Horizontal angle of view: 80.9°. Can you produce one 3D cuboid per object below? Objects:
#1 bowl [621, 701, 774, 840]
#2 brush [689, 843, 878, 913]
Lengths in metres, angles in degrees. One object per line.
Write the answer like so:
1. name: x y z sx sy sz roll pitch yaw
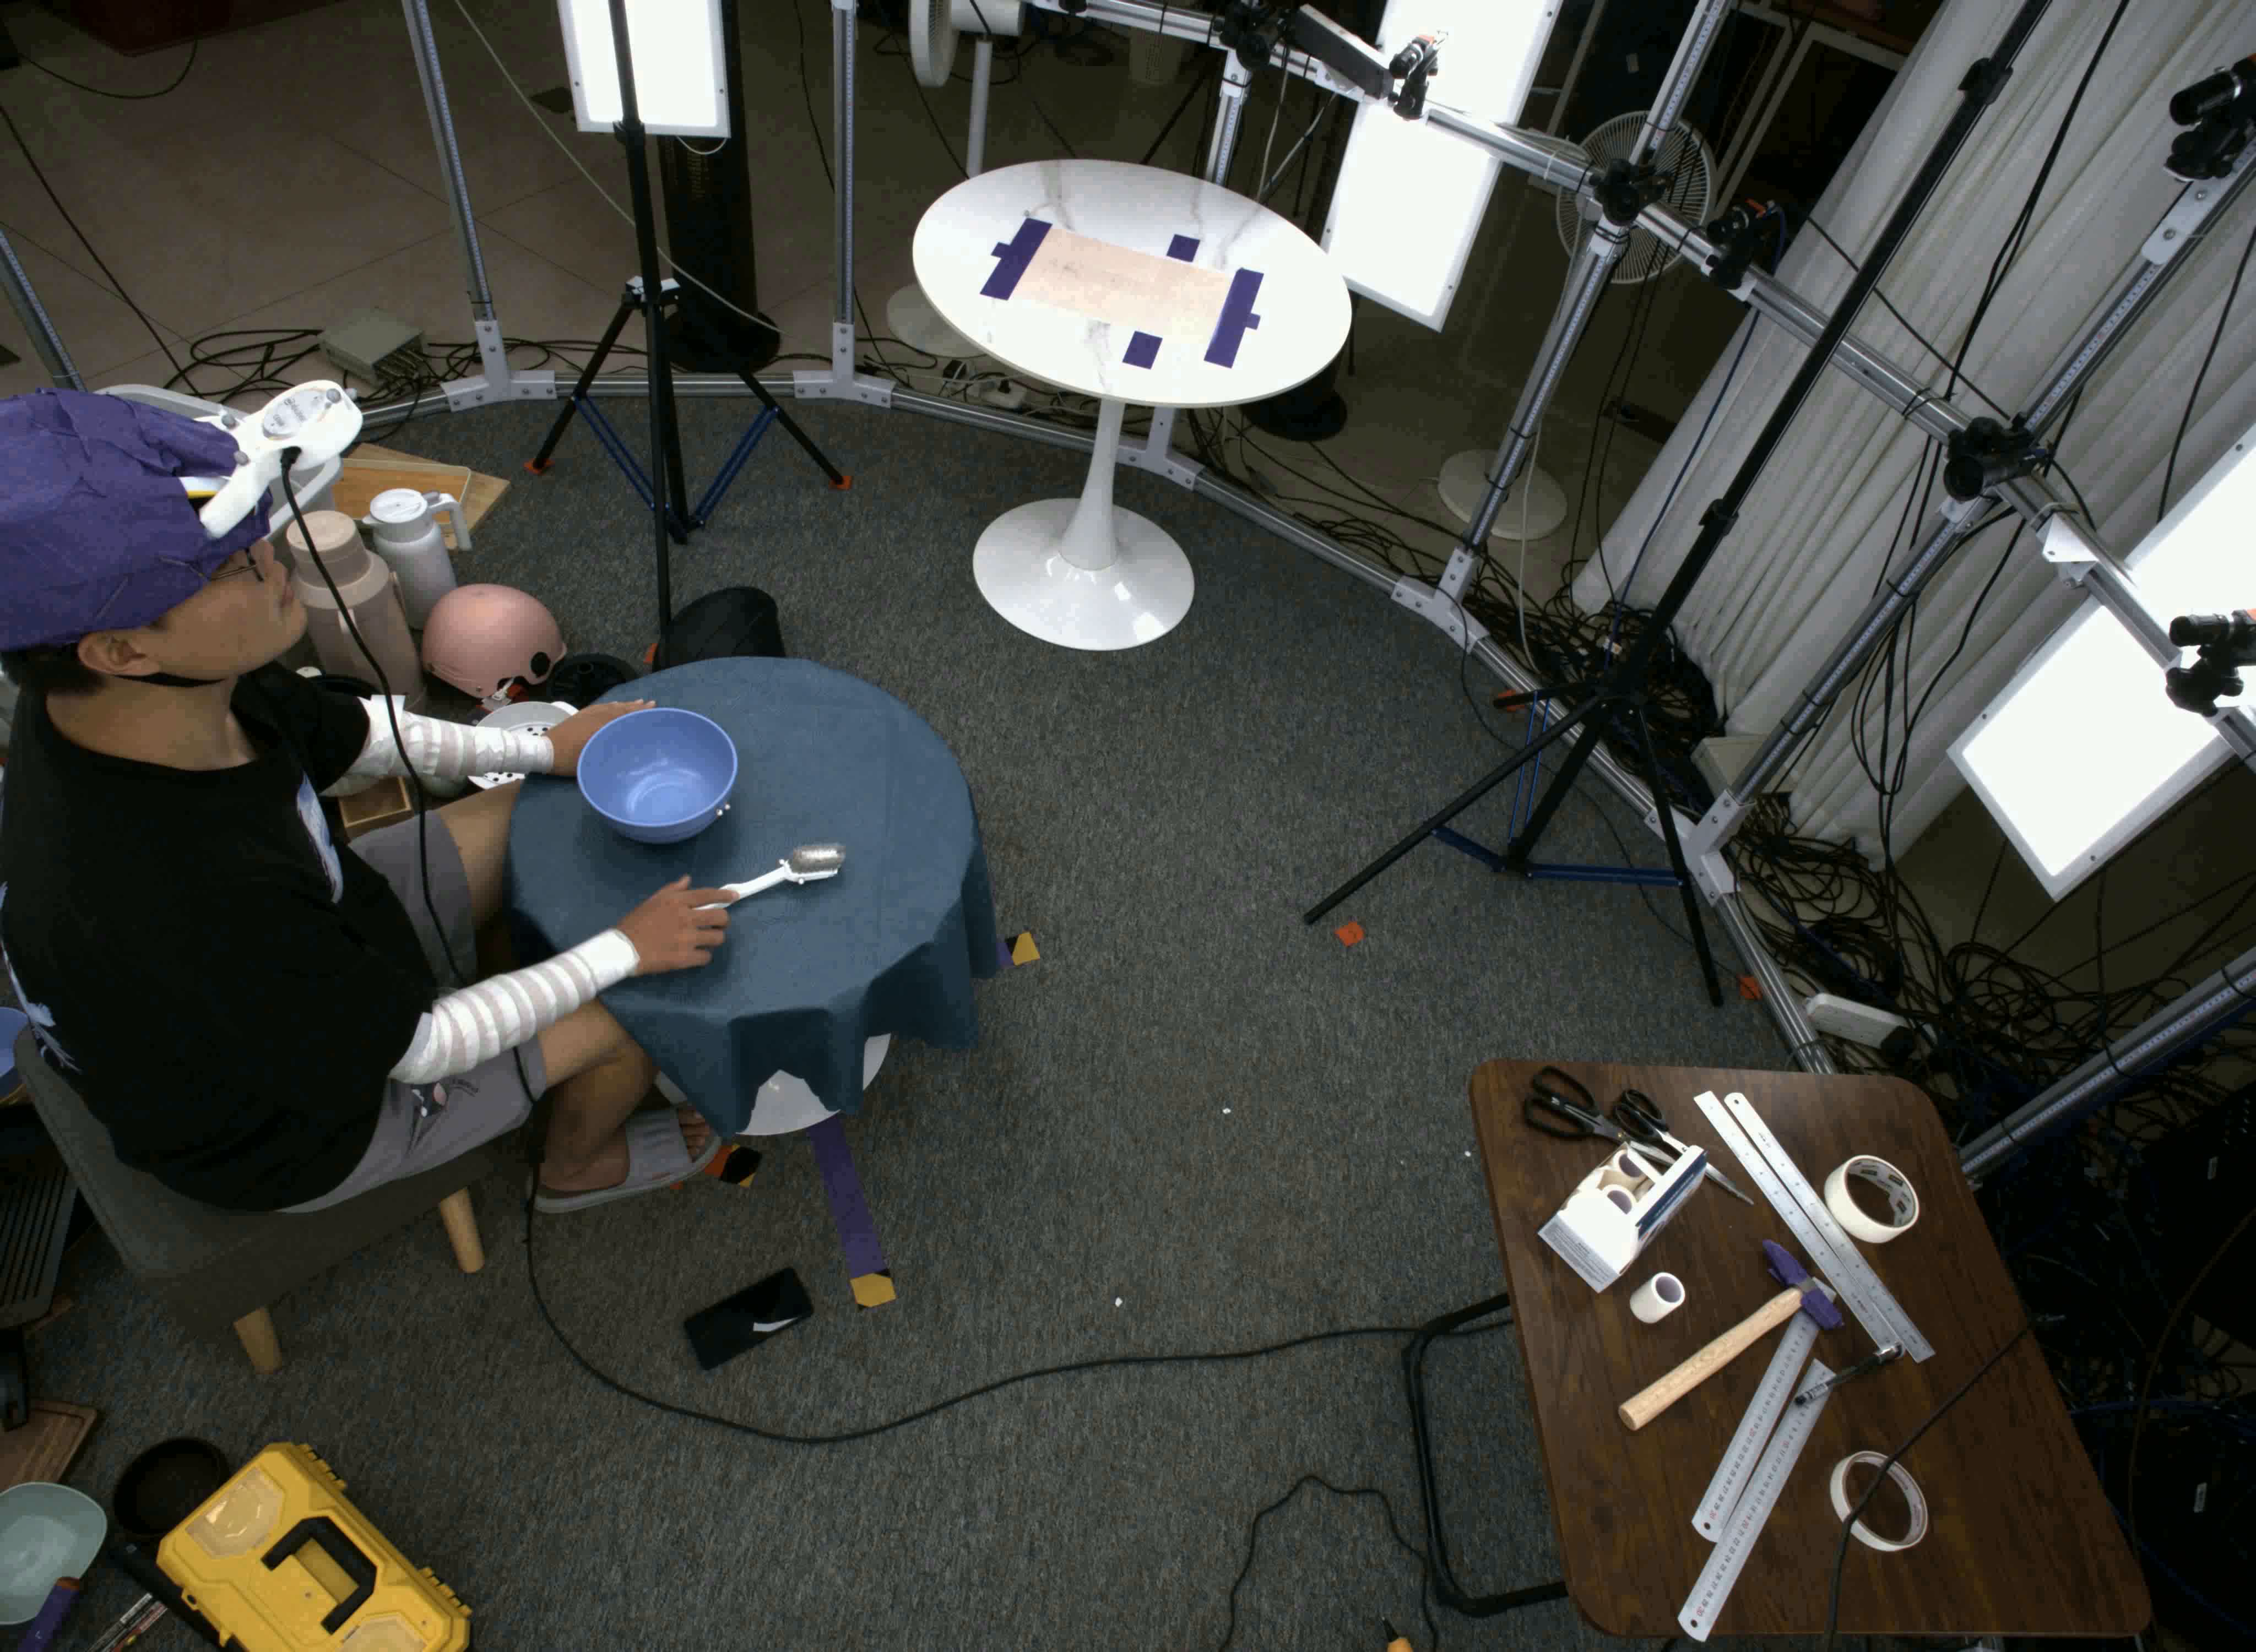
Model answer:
1. bowl: -0.559 -0.057 1.686 0.196 0.097 0.193 7 55 -8
2. brush: -0.439 0.062 1.652 0.245 0.051 0.033 -13 59 -22
